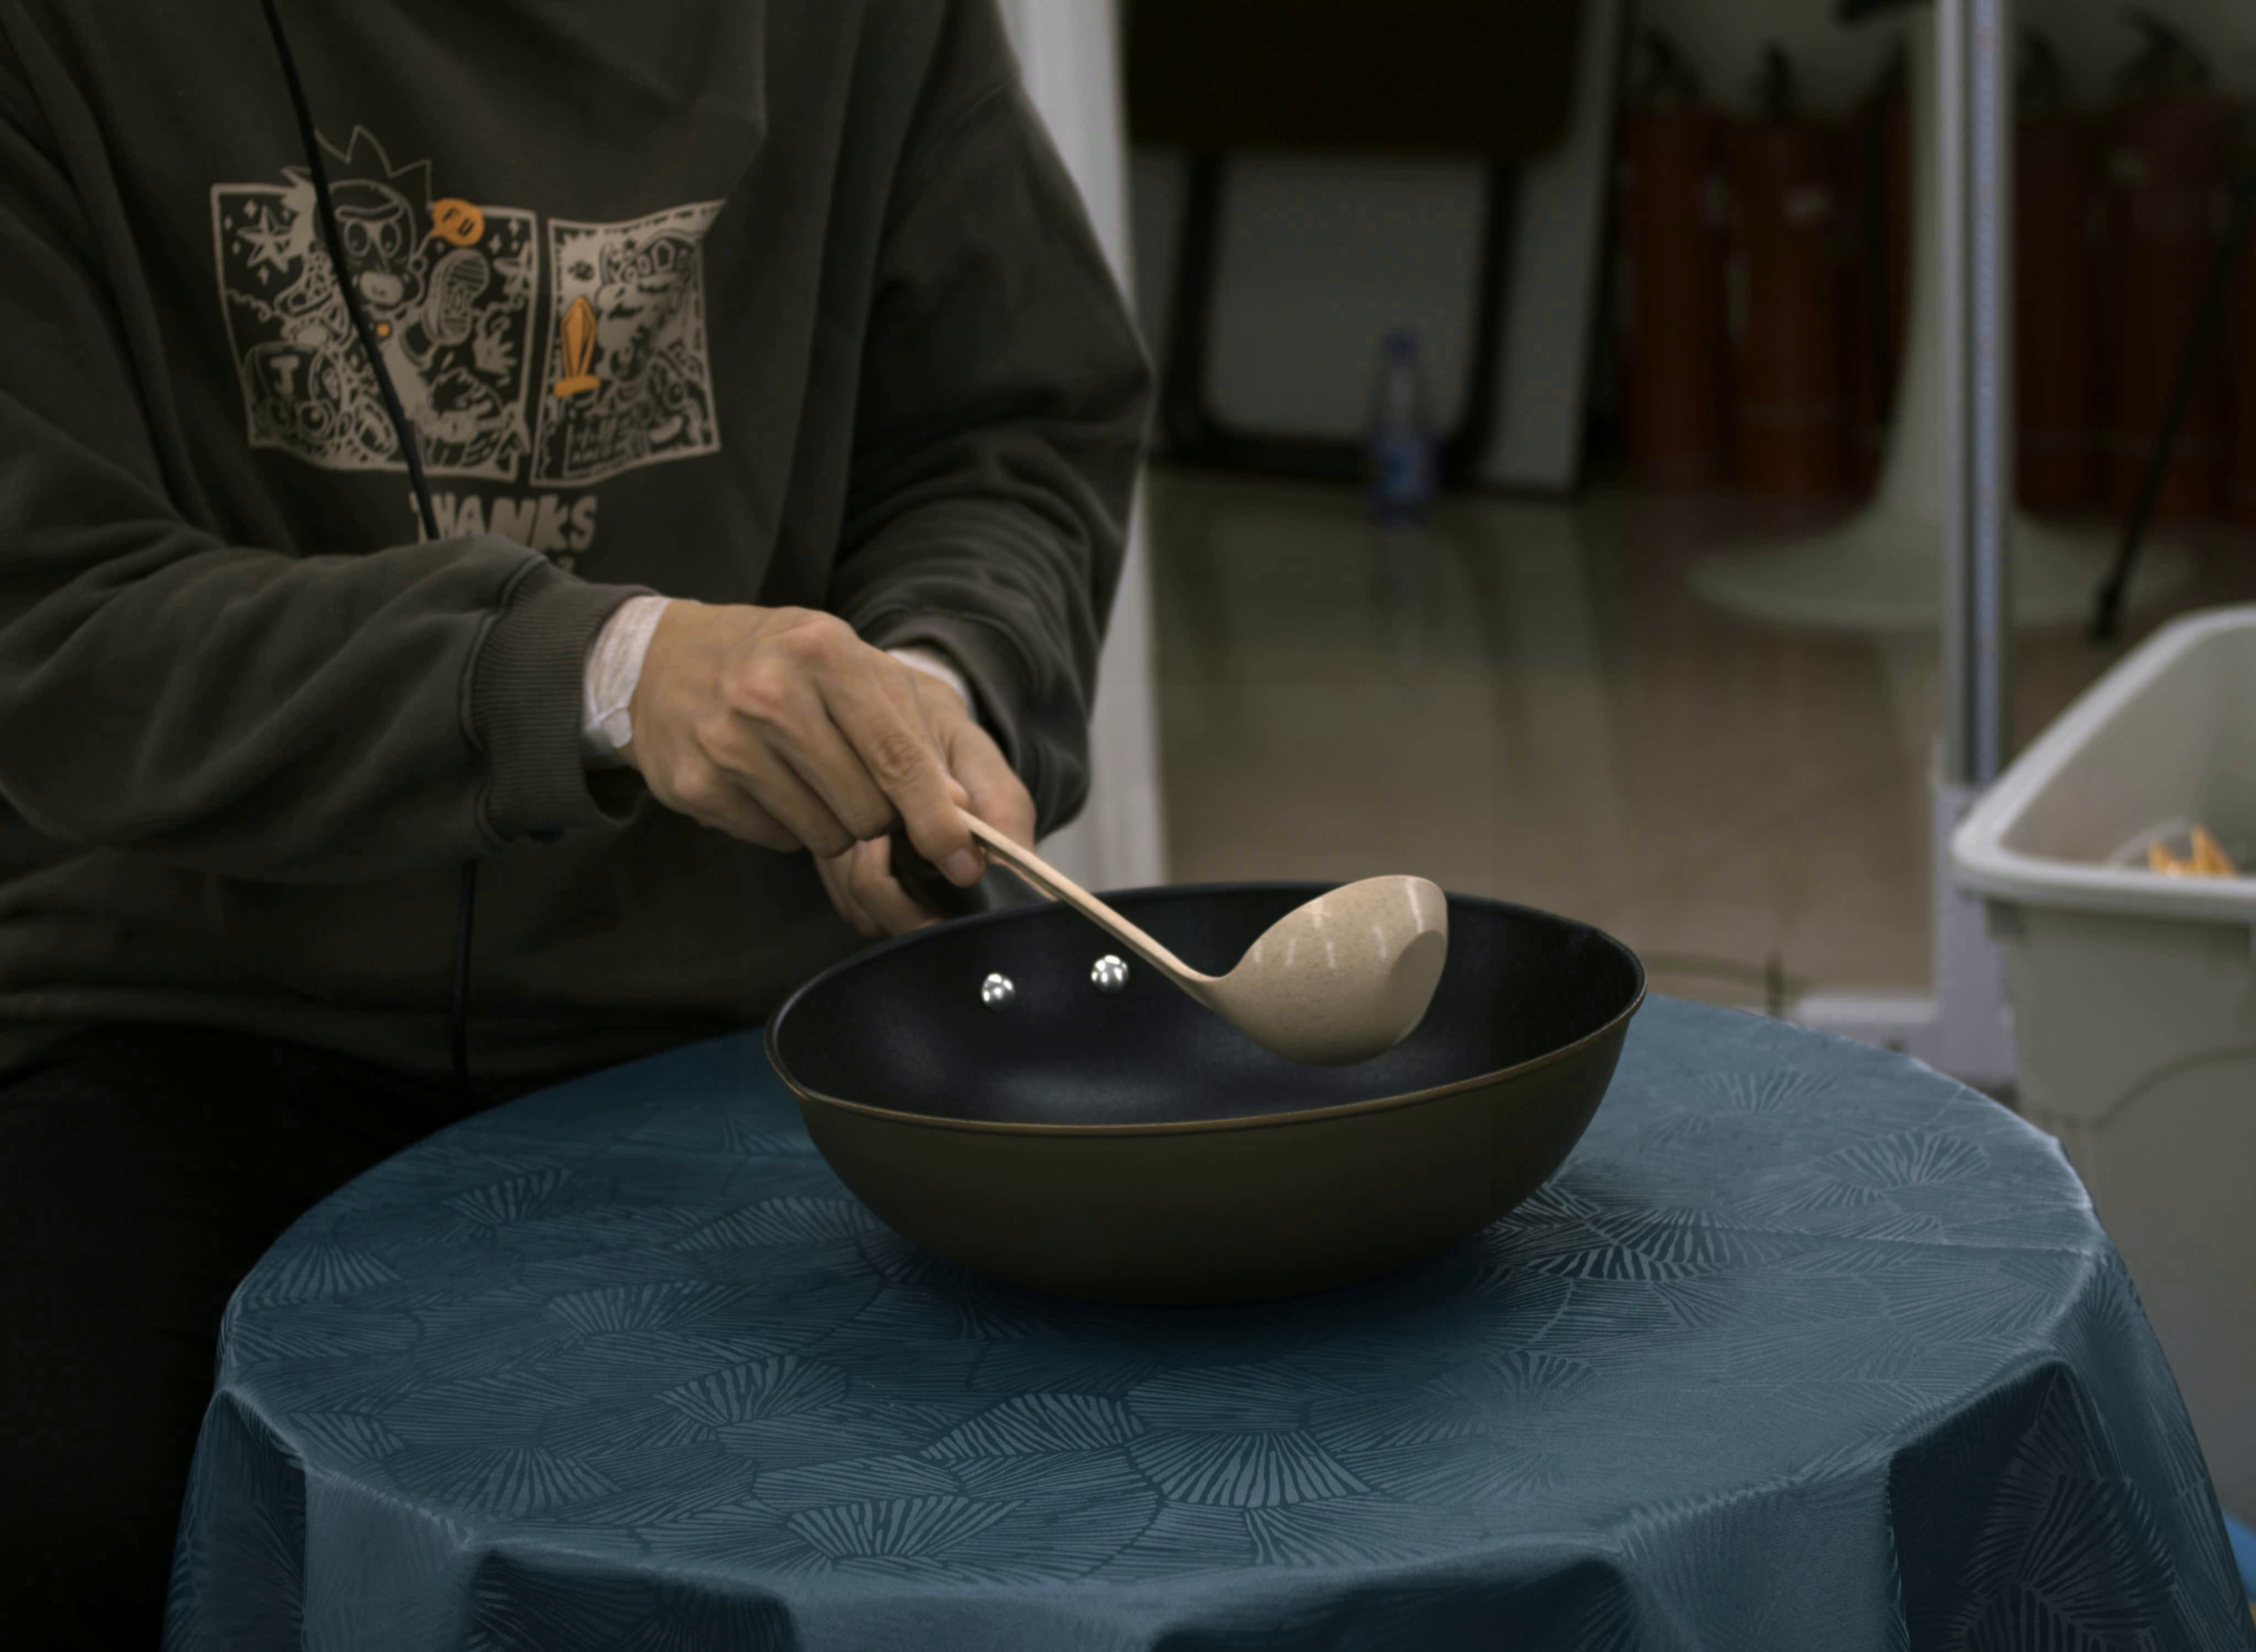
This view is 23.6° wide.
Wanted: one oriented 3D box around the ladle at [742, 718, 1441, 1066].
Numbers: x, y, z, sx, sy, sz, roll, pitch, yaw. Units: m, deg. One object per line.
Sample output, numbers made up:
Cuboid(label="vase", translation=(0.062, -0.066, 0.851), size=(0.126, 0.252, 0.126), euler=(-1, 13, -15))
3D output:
Cuboid(label="ladle", translation=(-0.011, -0.005, 1.728), size=(0.256, 0.073, 0.071), euler=(31, -10, 29))

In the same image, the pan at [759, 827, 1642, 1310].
Cuboid(label="pan", translation=(-0.011, 0.076, 1.793), size=(0.282, 0.088, 0.468), euler=(-10, 13, -21))
